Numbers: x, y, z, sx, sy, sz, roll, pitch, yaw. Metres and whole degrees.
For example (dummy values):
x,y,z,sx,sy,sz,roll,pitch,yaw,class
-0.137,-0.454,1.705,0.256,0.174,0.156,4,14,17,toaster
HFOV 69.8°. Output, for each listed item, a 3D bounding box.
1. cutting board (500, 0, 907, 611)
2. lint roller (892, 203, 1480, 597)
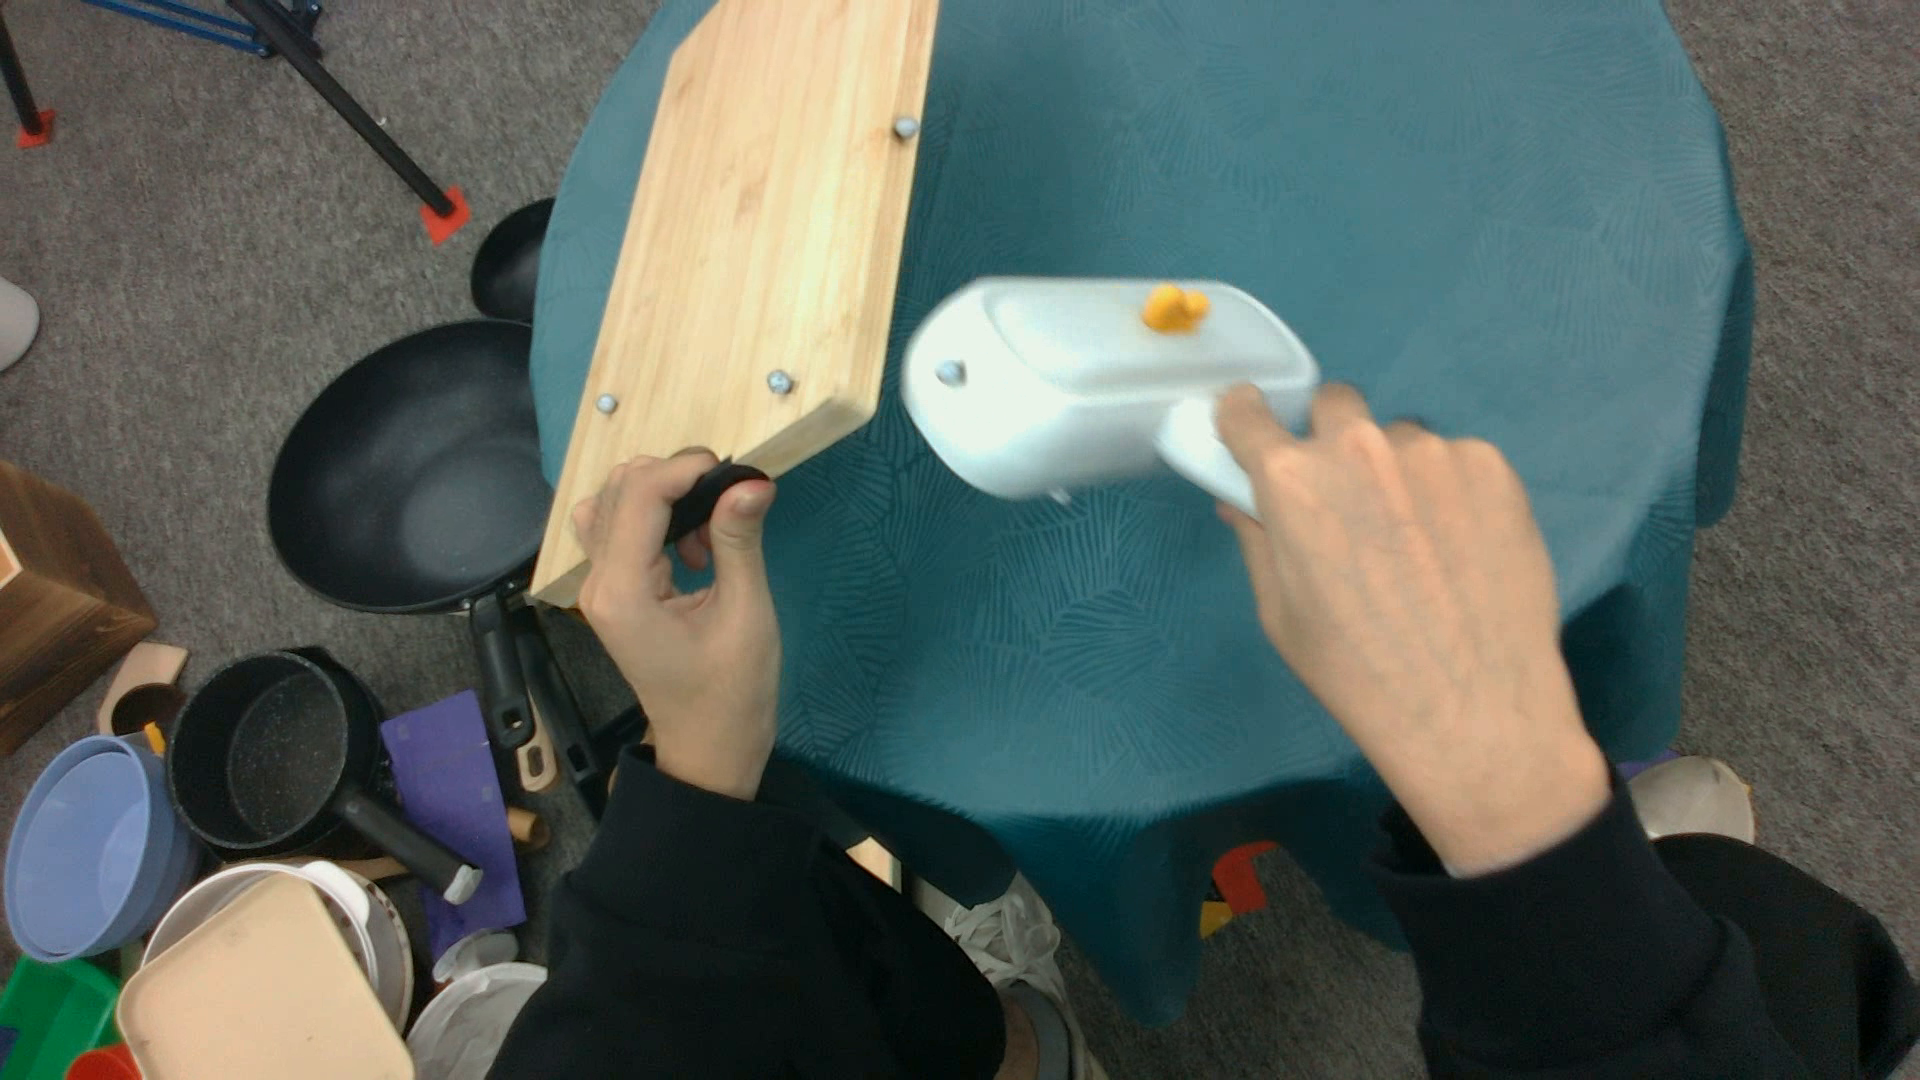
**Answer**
x,y,z,sx,sy,sz,roll,pitch,yaw,class
-0.106,-0.158,0.615,0.249,0.023,0.350,-26,49,44,cutting board
0.092,-0.042,0.481,0.192,0.193,0.074,50,118,18,lint roller
